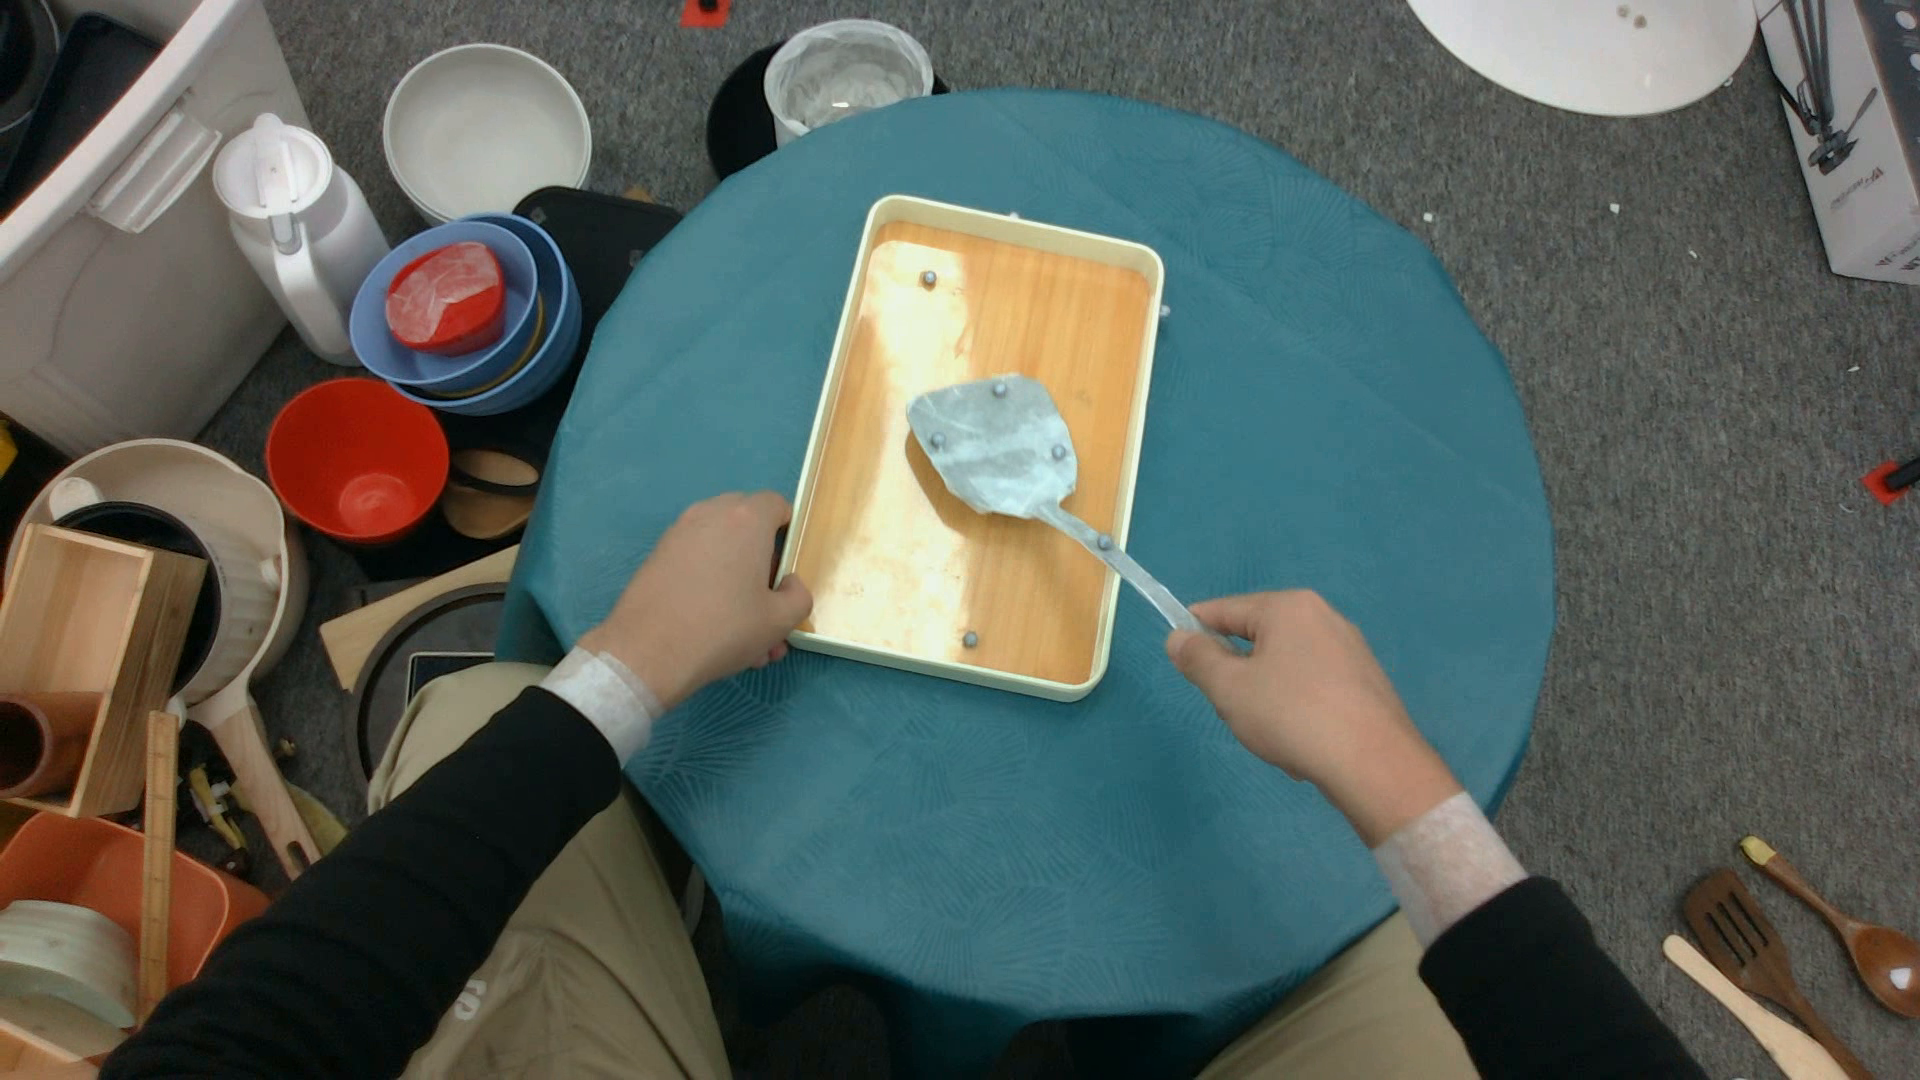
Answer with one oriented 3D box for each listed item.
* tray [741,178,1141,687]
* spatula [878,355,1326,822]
[{"bbox_3d":[-0.004,-0.072,0.817,0.191,0.027,0.301,12,67,-1],"label":"tray"},{"bbox_3d":[0.075,0.006,0.719,0.099,0.044,0.365,-14,40,-28],"label":"spatula"}]
